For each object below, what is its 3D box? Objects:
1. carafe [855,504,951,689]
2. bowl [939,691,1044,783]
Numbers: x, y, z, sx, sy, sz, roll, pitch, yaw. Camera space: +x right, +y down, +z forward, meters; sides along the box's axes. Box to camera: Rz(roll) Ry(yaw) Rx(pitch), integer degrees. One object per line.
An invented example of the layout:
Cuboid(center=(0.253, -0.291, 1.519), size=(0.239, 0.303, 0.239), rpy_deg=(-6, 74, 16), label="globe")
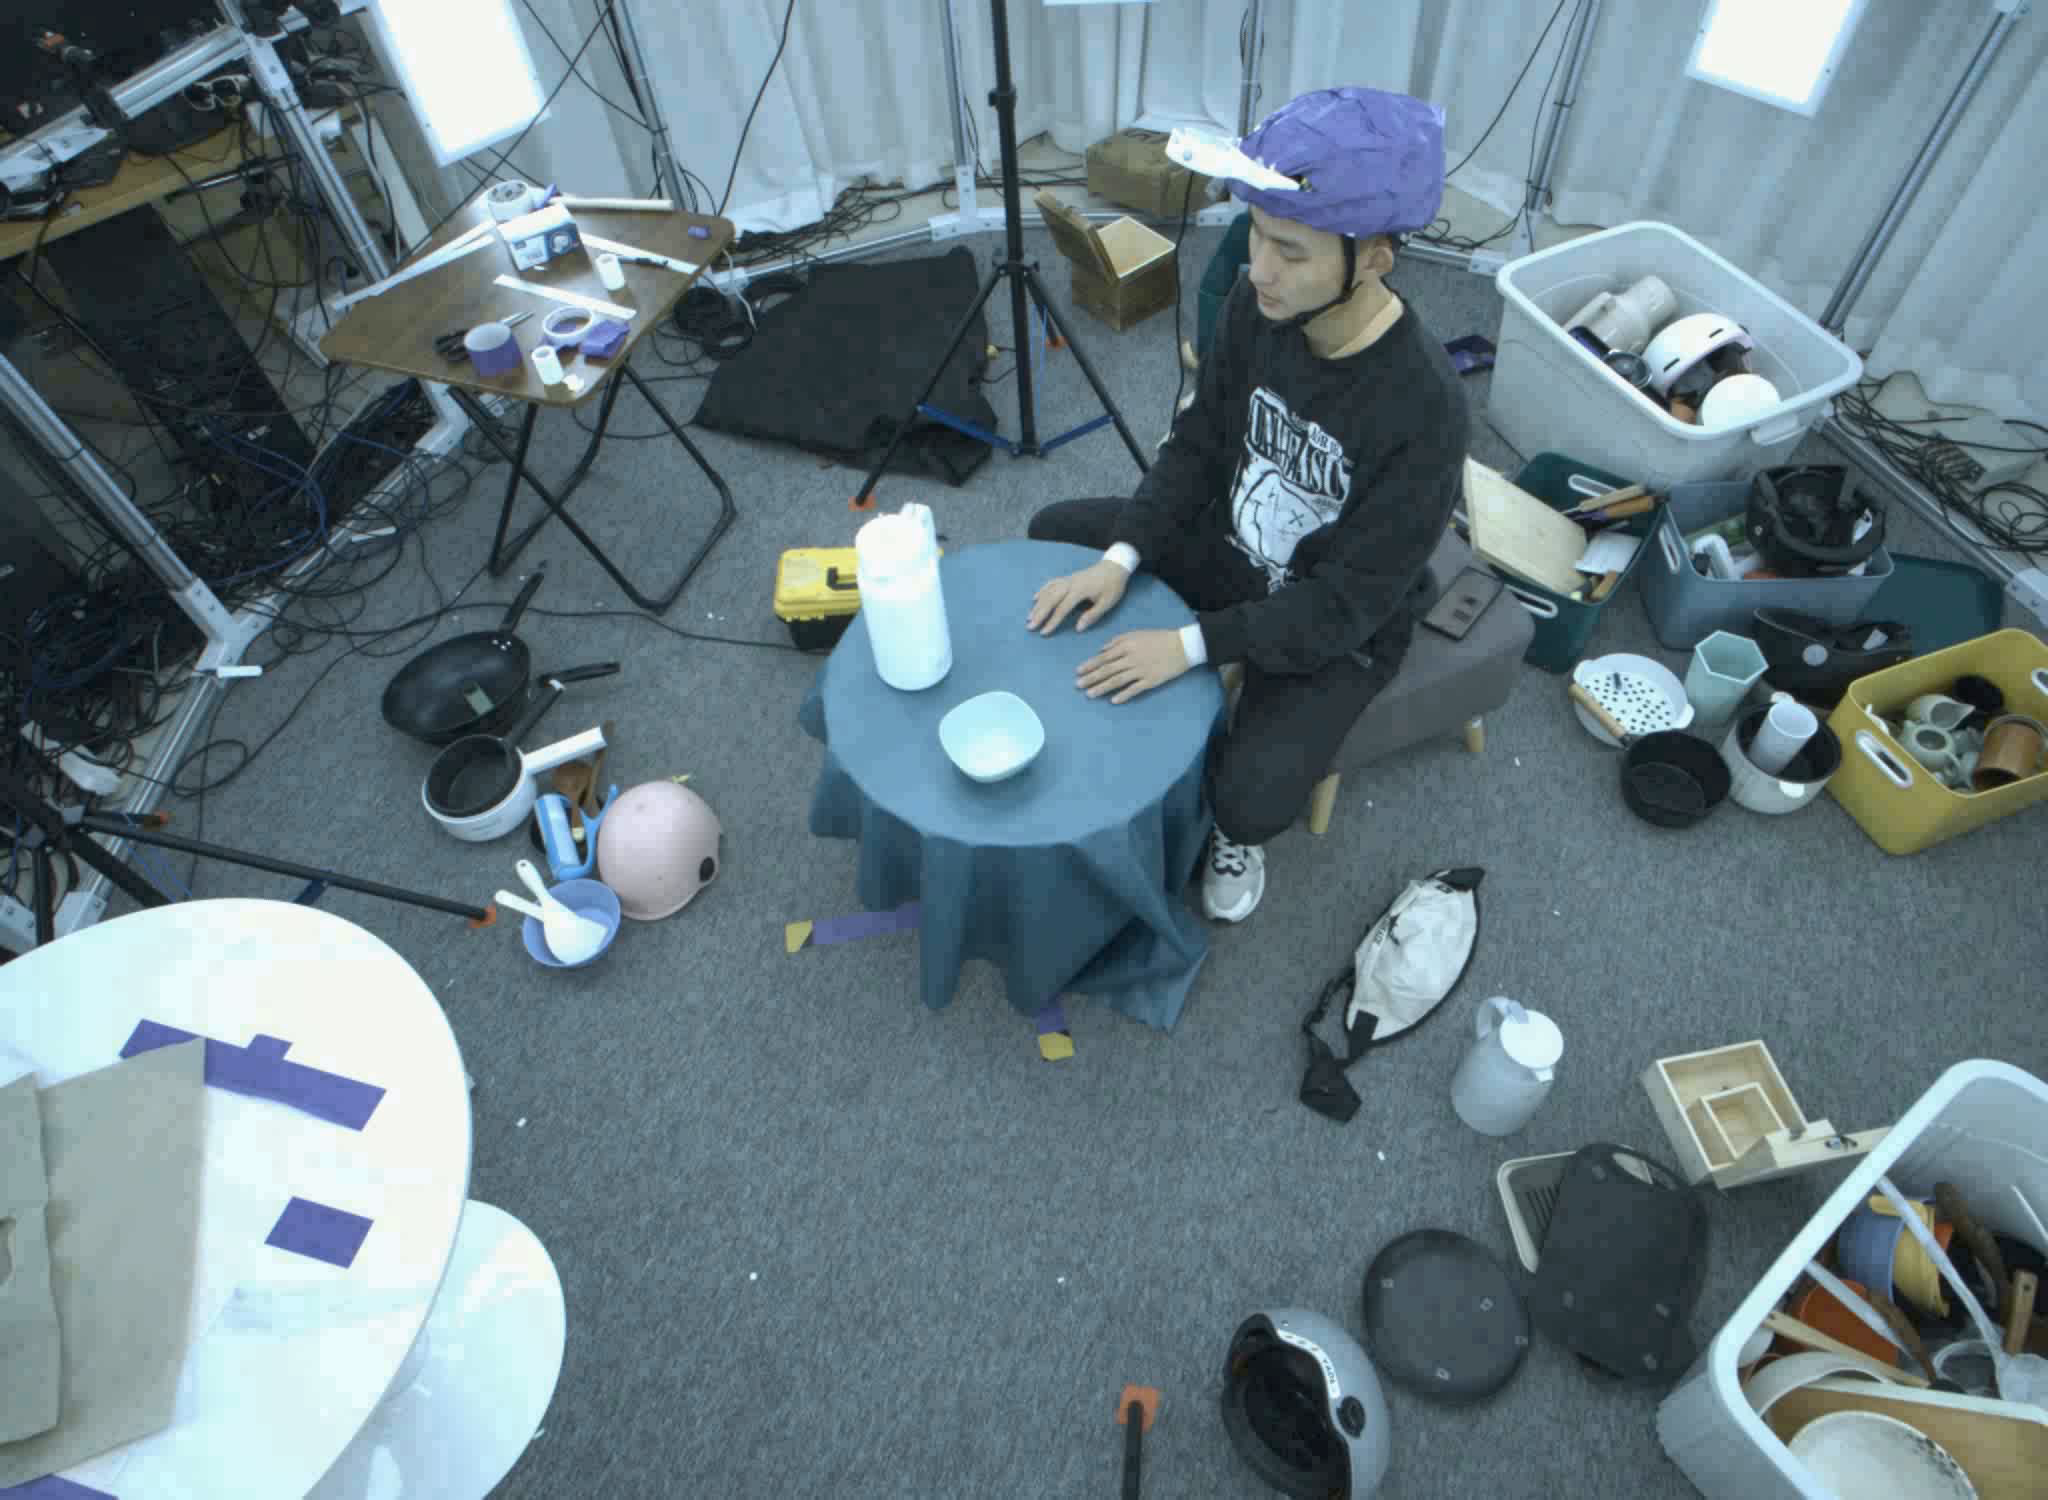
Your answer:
Cuboid(center=(-0.172, -0.226, 1.785), size=(0.122, 0.272, 0.172), rpy_deg=(12, 56, 14), label="carafe")
Cuboid(center=(-0.045, -0.008, 1.758), size=(0.151, 0.059, 0.150), rpy_deg=(0, 55, 1), label="bowl")
